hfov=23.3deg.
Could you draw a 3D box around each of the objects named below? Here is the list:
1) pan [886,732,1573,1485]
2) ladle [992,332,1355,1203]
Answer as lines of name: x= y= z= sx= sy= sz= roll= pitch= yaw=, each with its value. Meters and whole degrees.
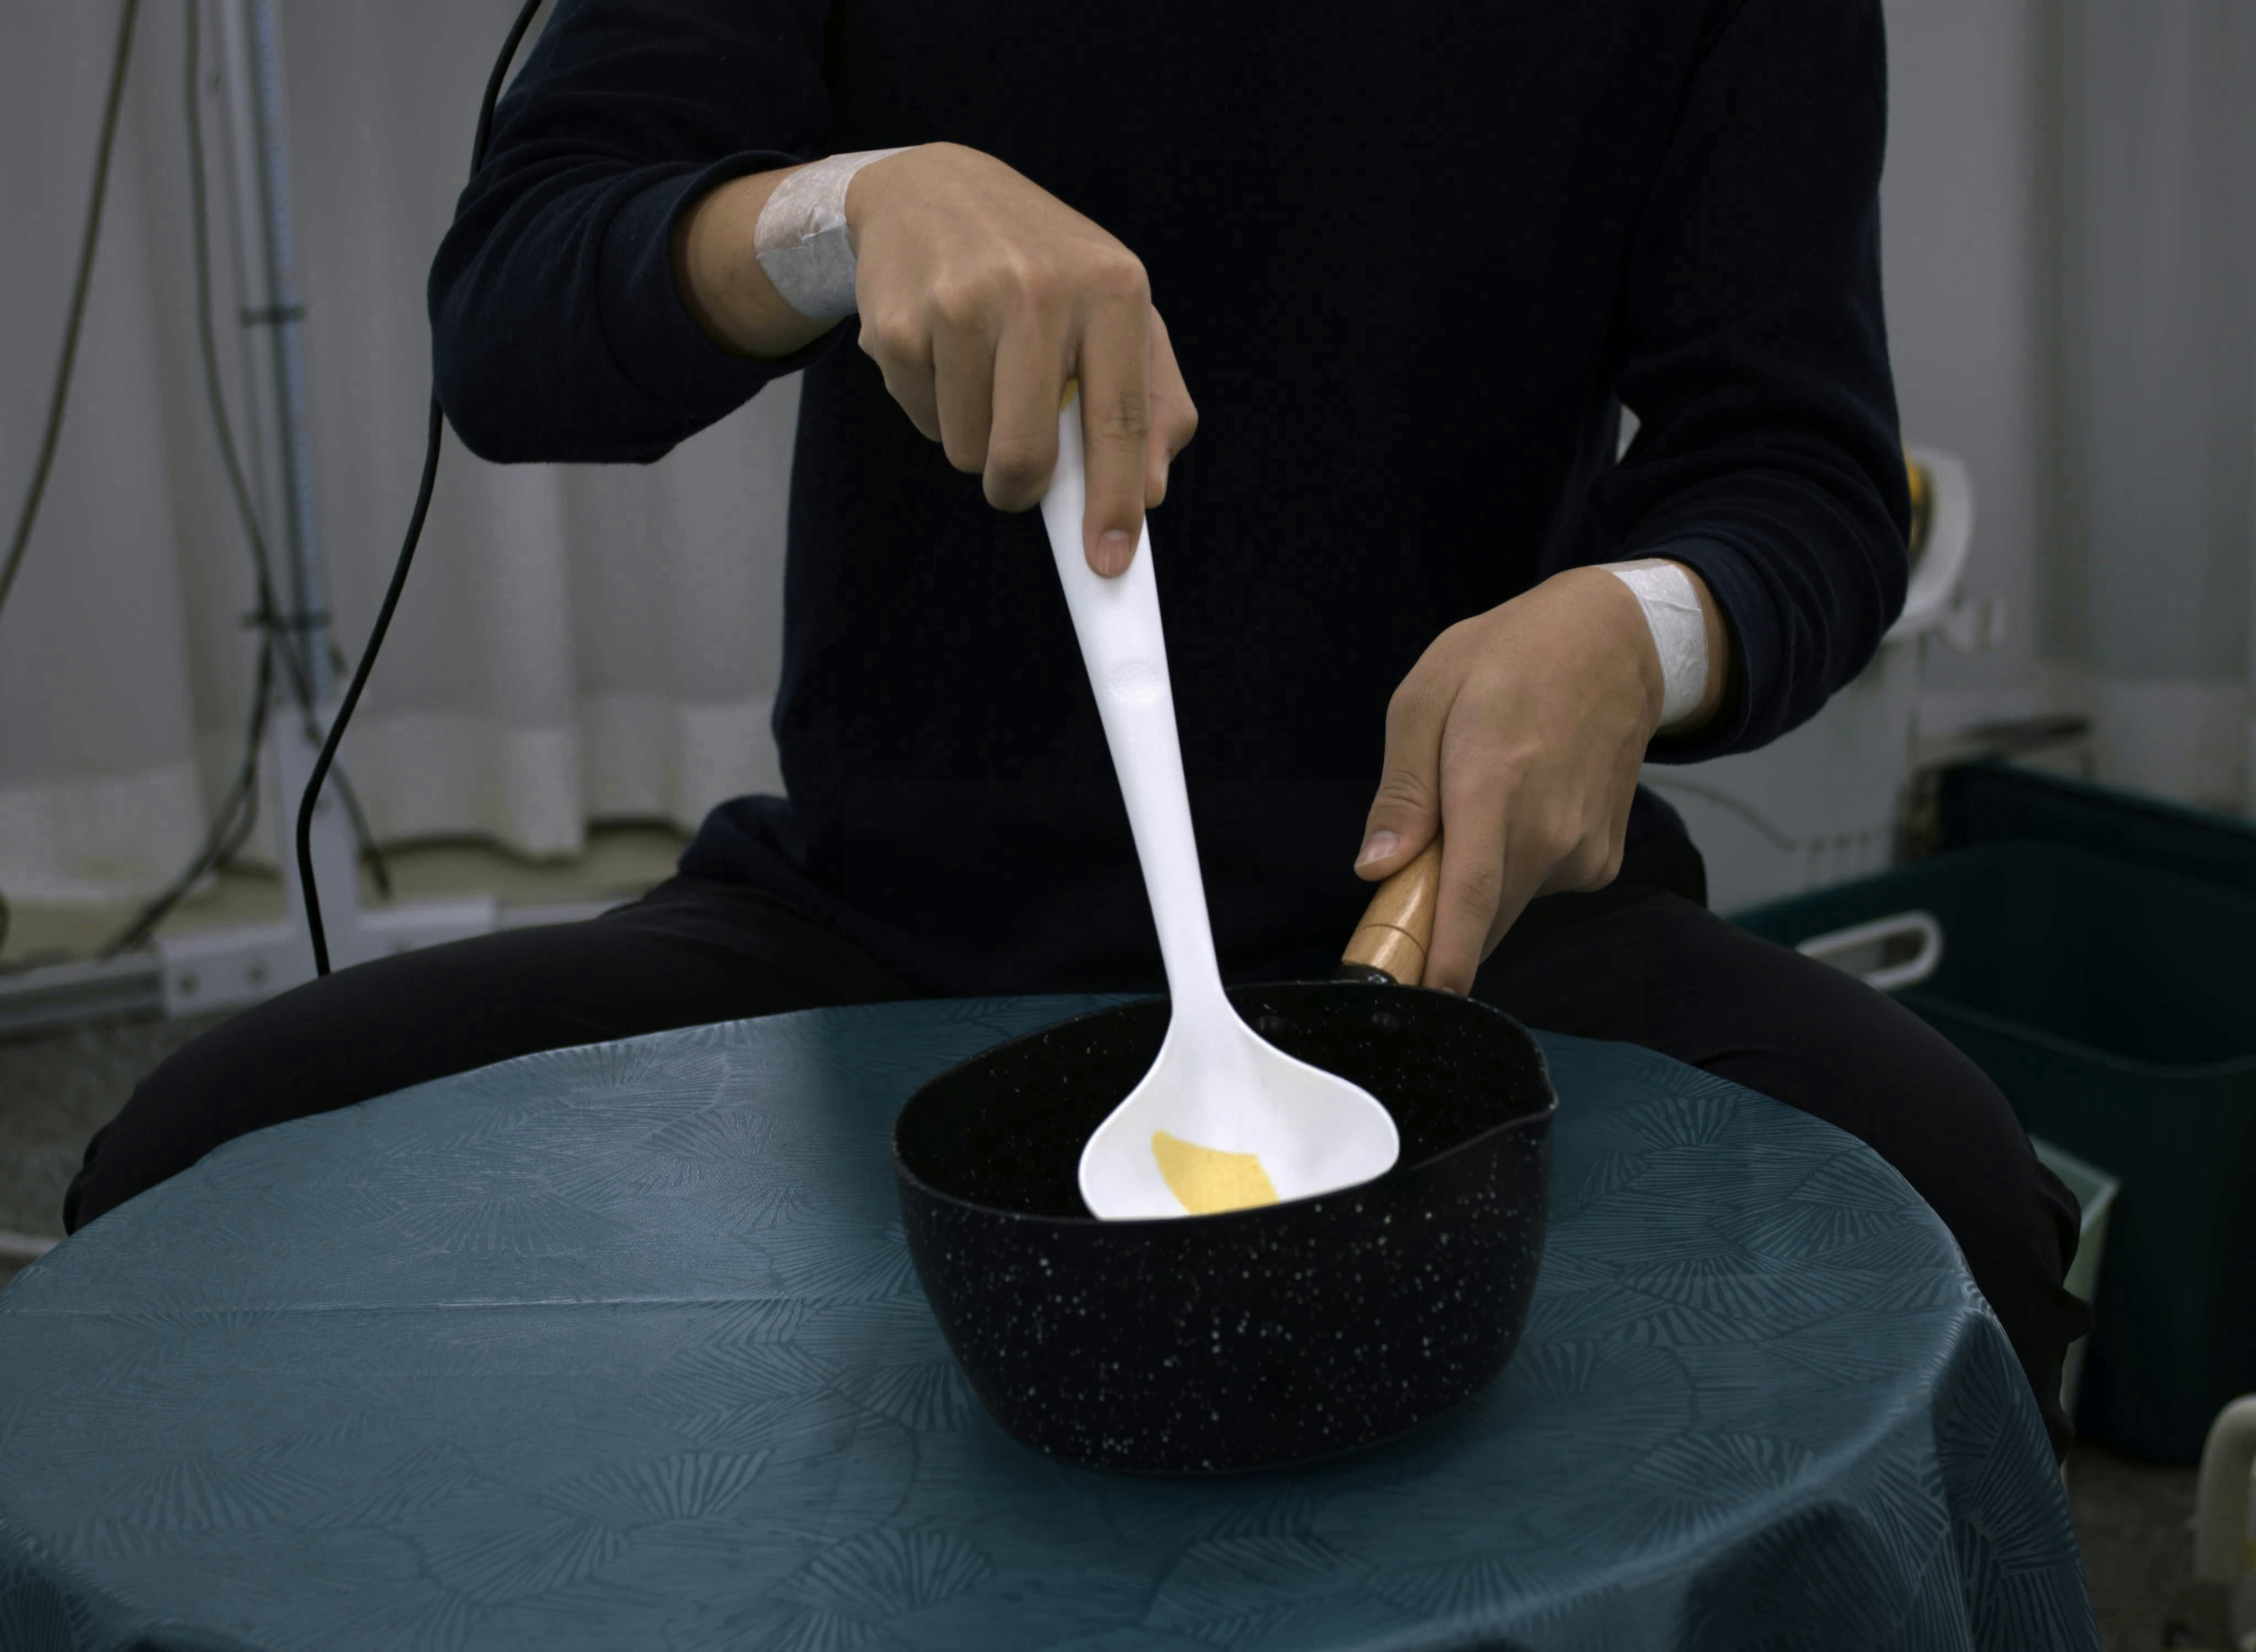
pan: x=0.056 y=0.078 z=1.597 sx=0.207 sy=0.107 sz=0.344 roll=-2 pitch=19 yaw=23
ladle: x=-0.001 y=-0.010 z=1.560 sx=0.090 sy=0.296 sz=0.069 roll=-13 pitch=-19 yaw=5
